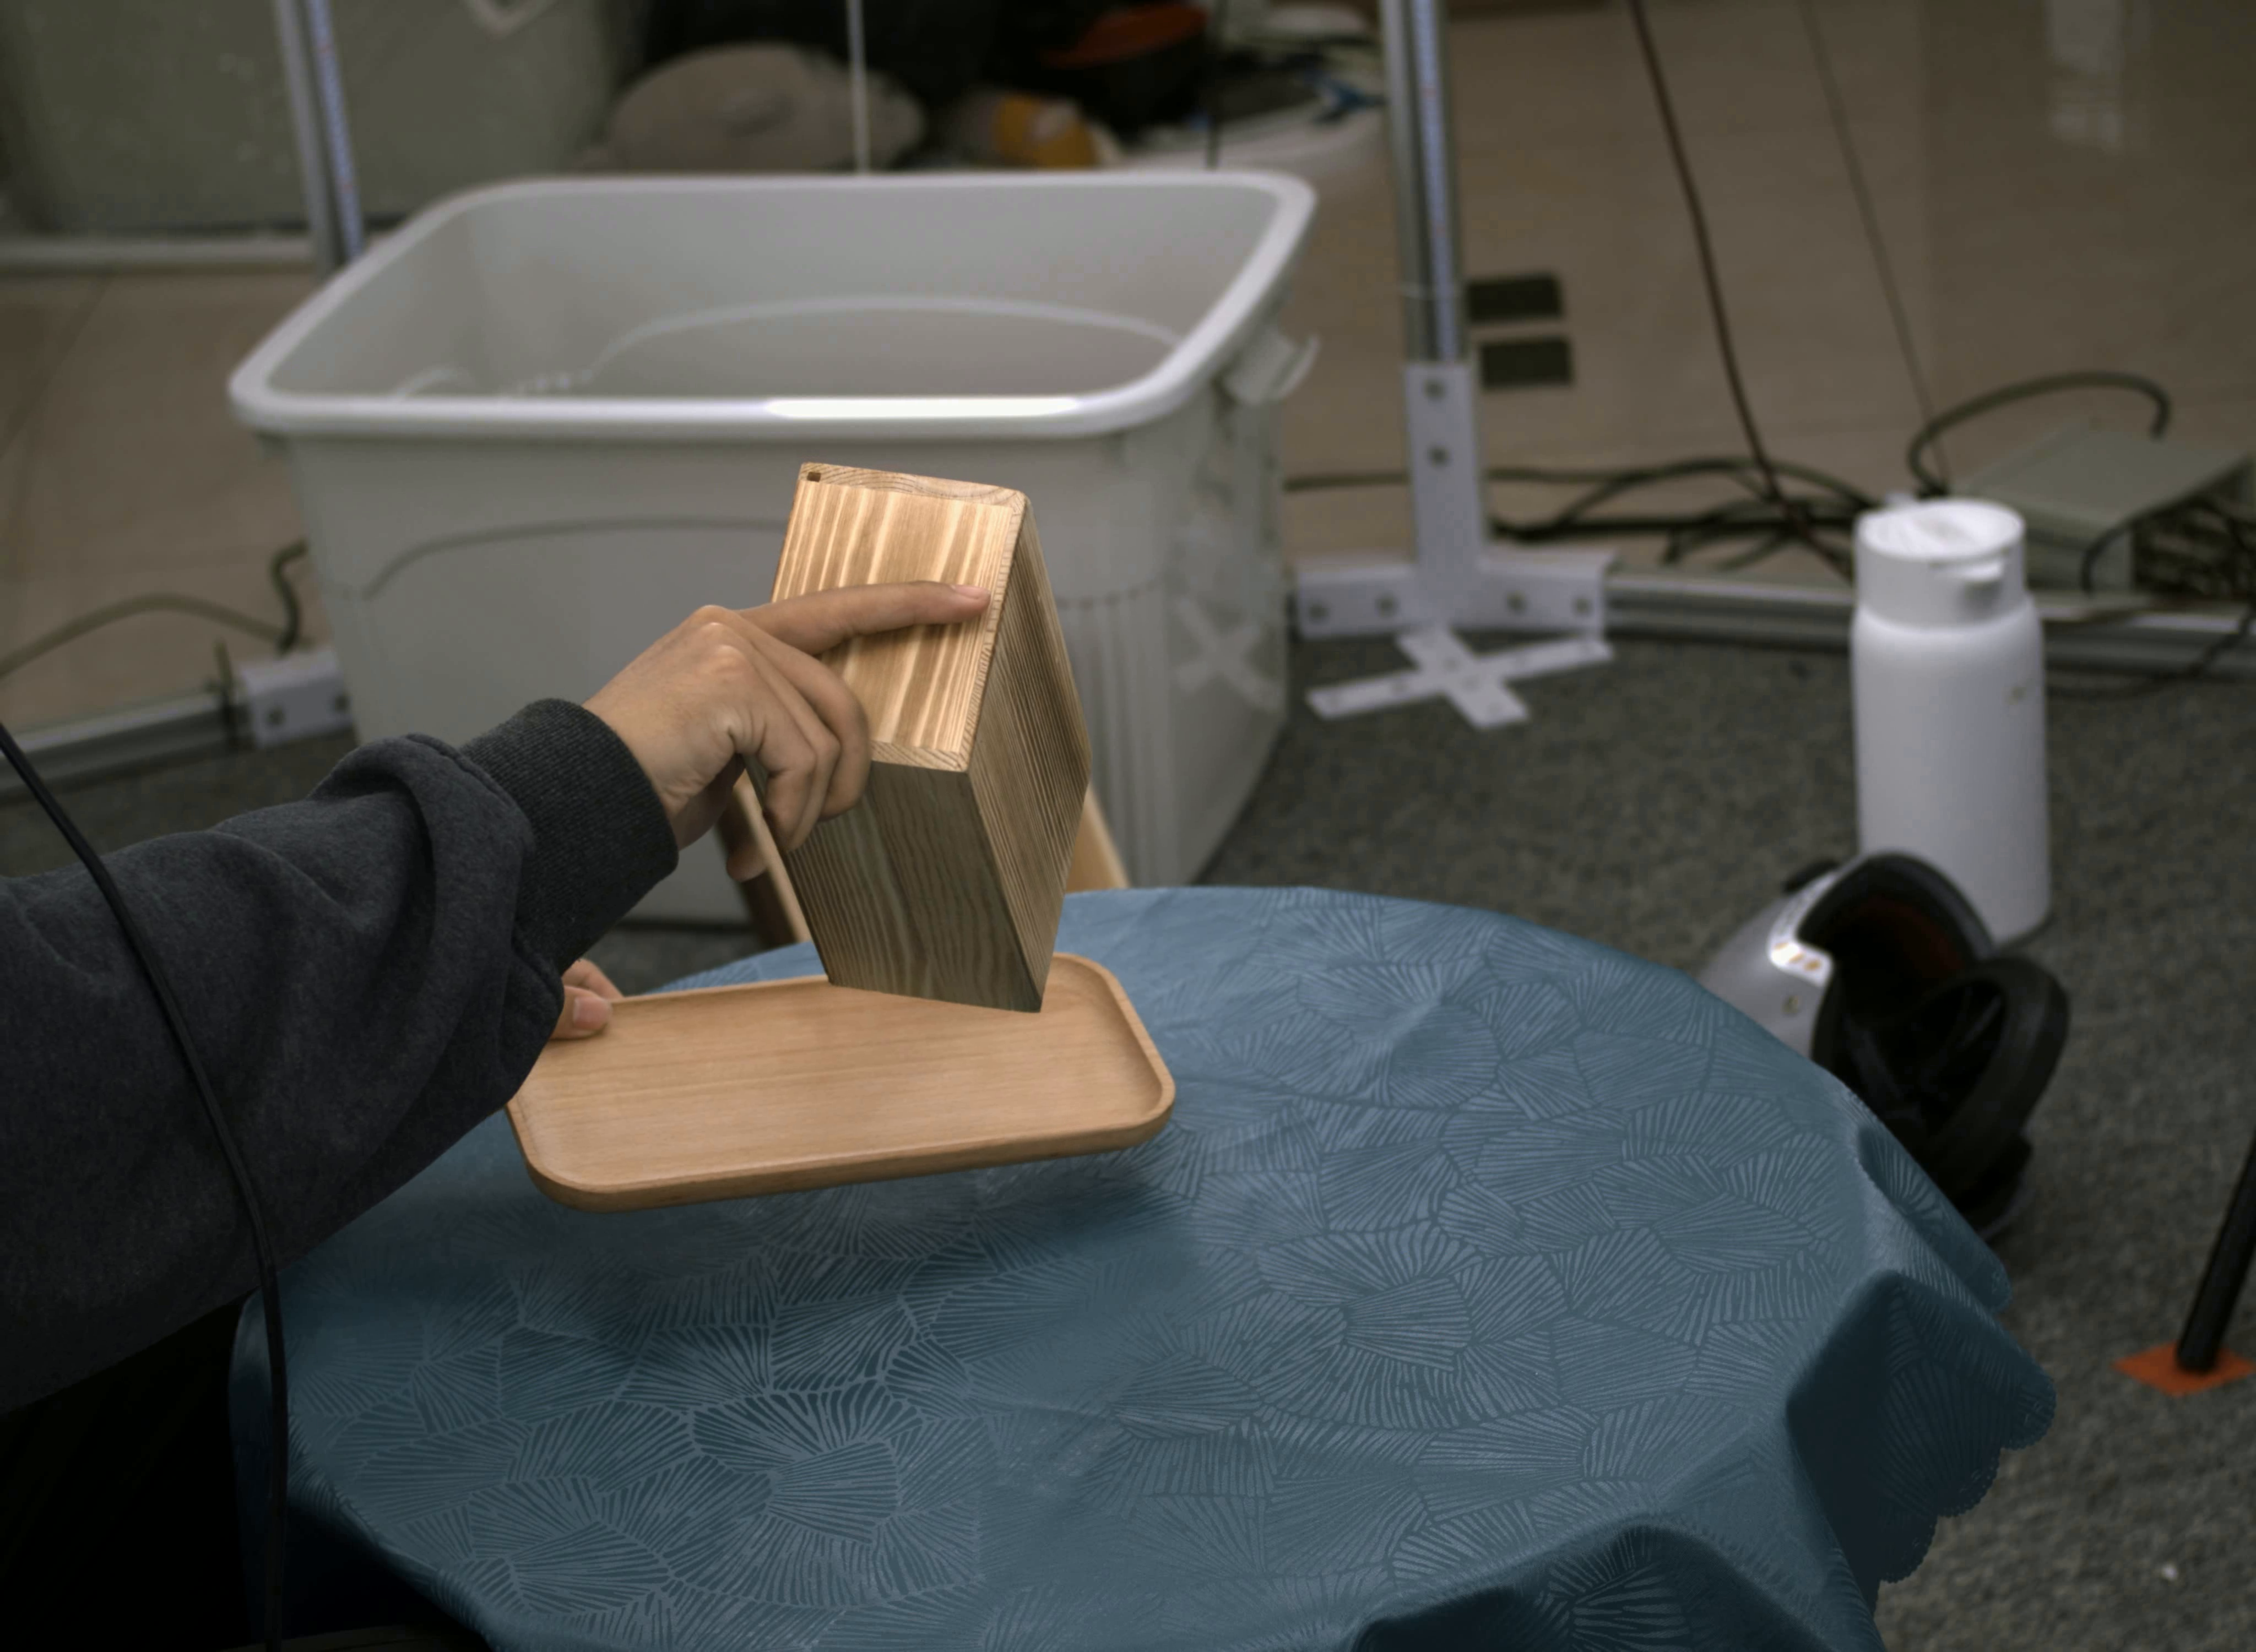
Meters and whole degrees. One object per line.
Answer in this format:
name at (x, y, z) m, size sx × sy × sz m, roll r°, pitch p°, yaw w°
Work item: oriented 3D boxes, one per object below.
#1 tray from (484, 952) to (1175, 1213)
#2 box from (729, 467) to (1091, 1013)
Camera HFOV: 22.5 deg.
tray at (-0.113, 0.097, 2.144) m, size 0.250 × 0.023 × 0.128 m, roll -6°, pitch 30°, yaw -16°
box at (-0.072, -0.027, 1.971) m, size 0.080 × 0.214 × 0.106 m, roll 9°, pitch 68°, yaw 10°
